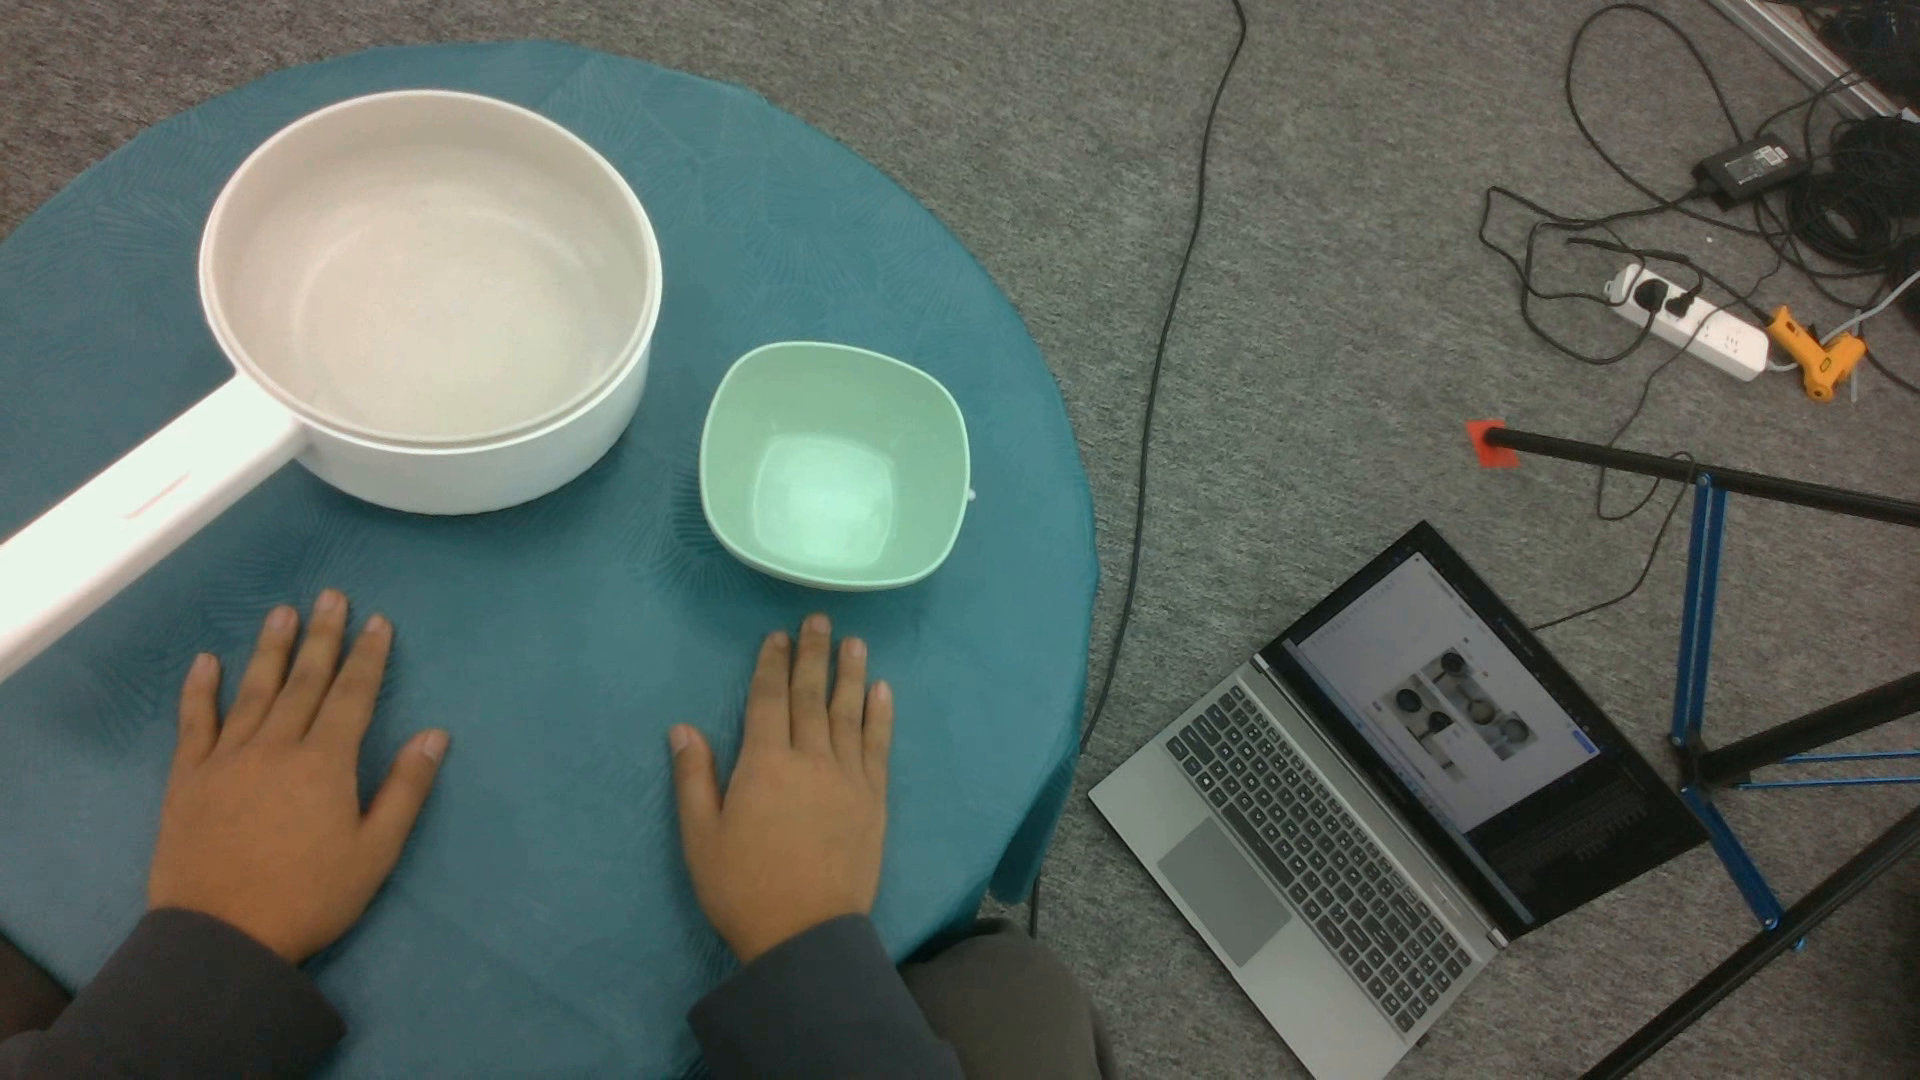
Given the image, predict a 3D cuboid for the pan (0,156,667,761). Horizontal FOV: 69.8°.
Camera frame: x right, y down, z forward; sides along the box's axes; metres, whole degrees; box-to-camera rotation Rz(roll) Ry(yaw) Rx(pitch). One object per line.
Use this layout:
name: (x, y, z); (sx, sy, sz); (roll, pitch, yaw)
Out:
pan: (-0.297, -0.033, 0.674); (0.201, 0.101, 0.356); (36, 63, 2)

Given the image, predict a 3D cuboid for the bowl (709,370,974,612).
bowl: (-0.066, -0.017, 0.739); (0.151, 0.058, 0.152); (6, 61, -12)
